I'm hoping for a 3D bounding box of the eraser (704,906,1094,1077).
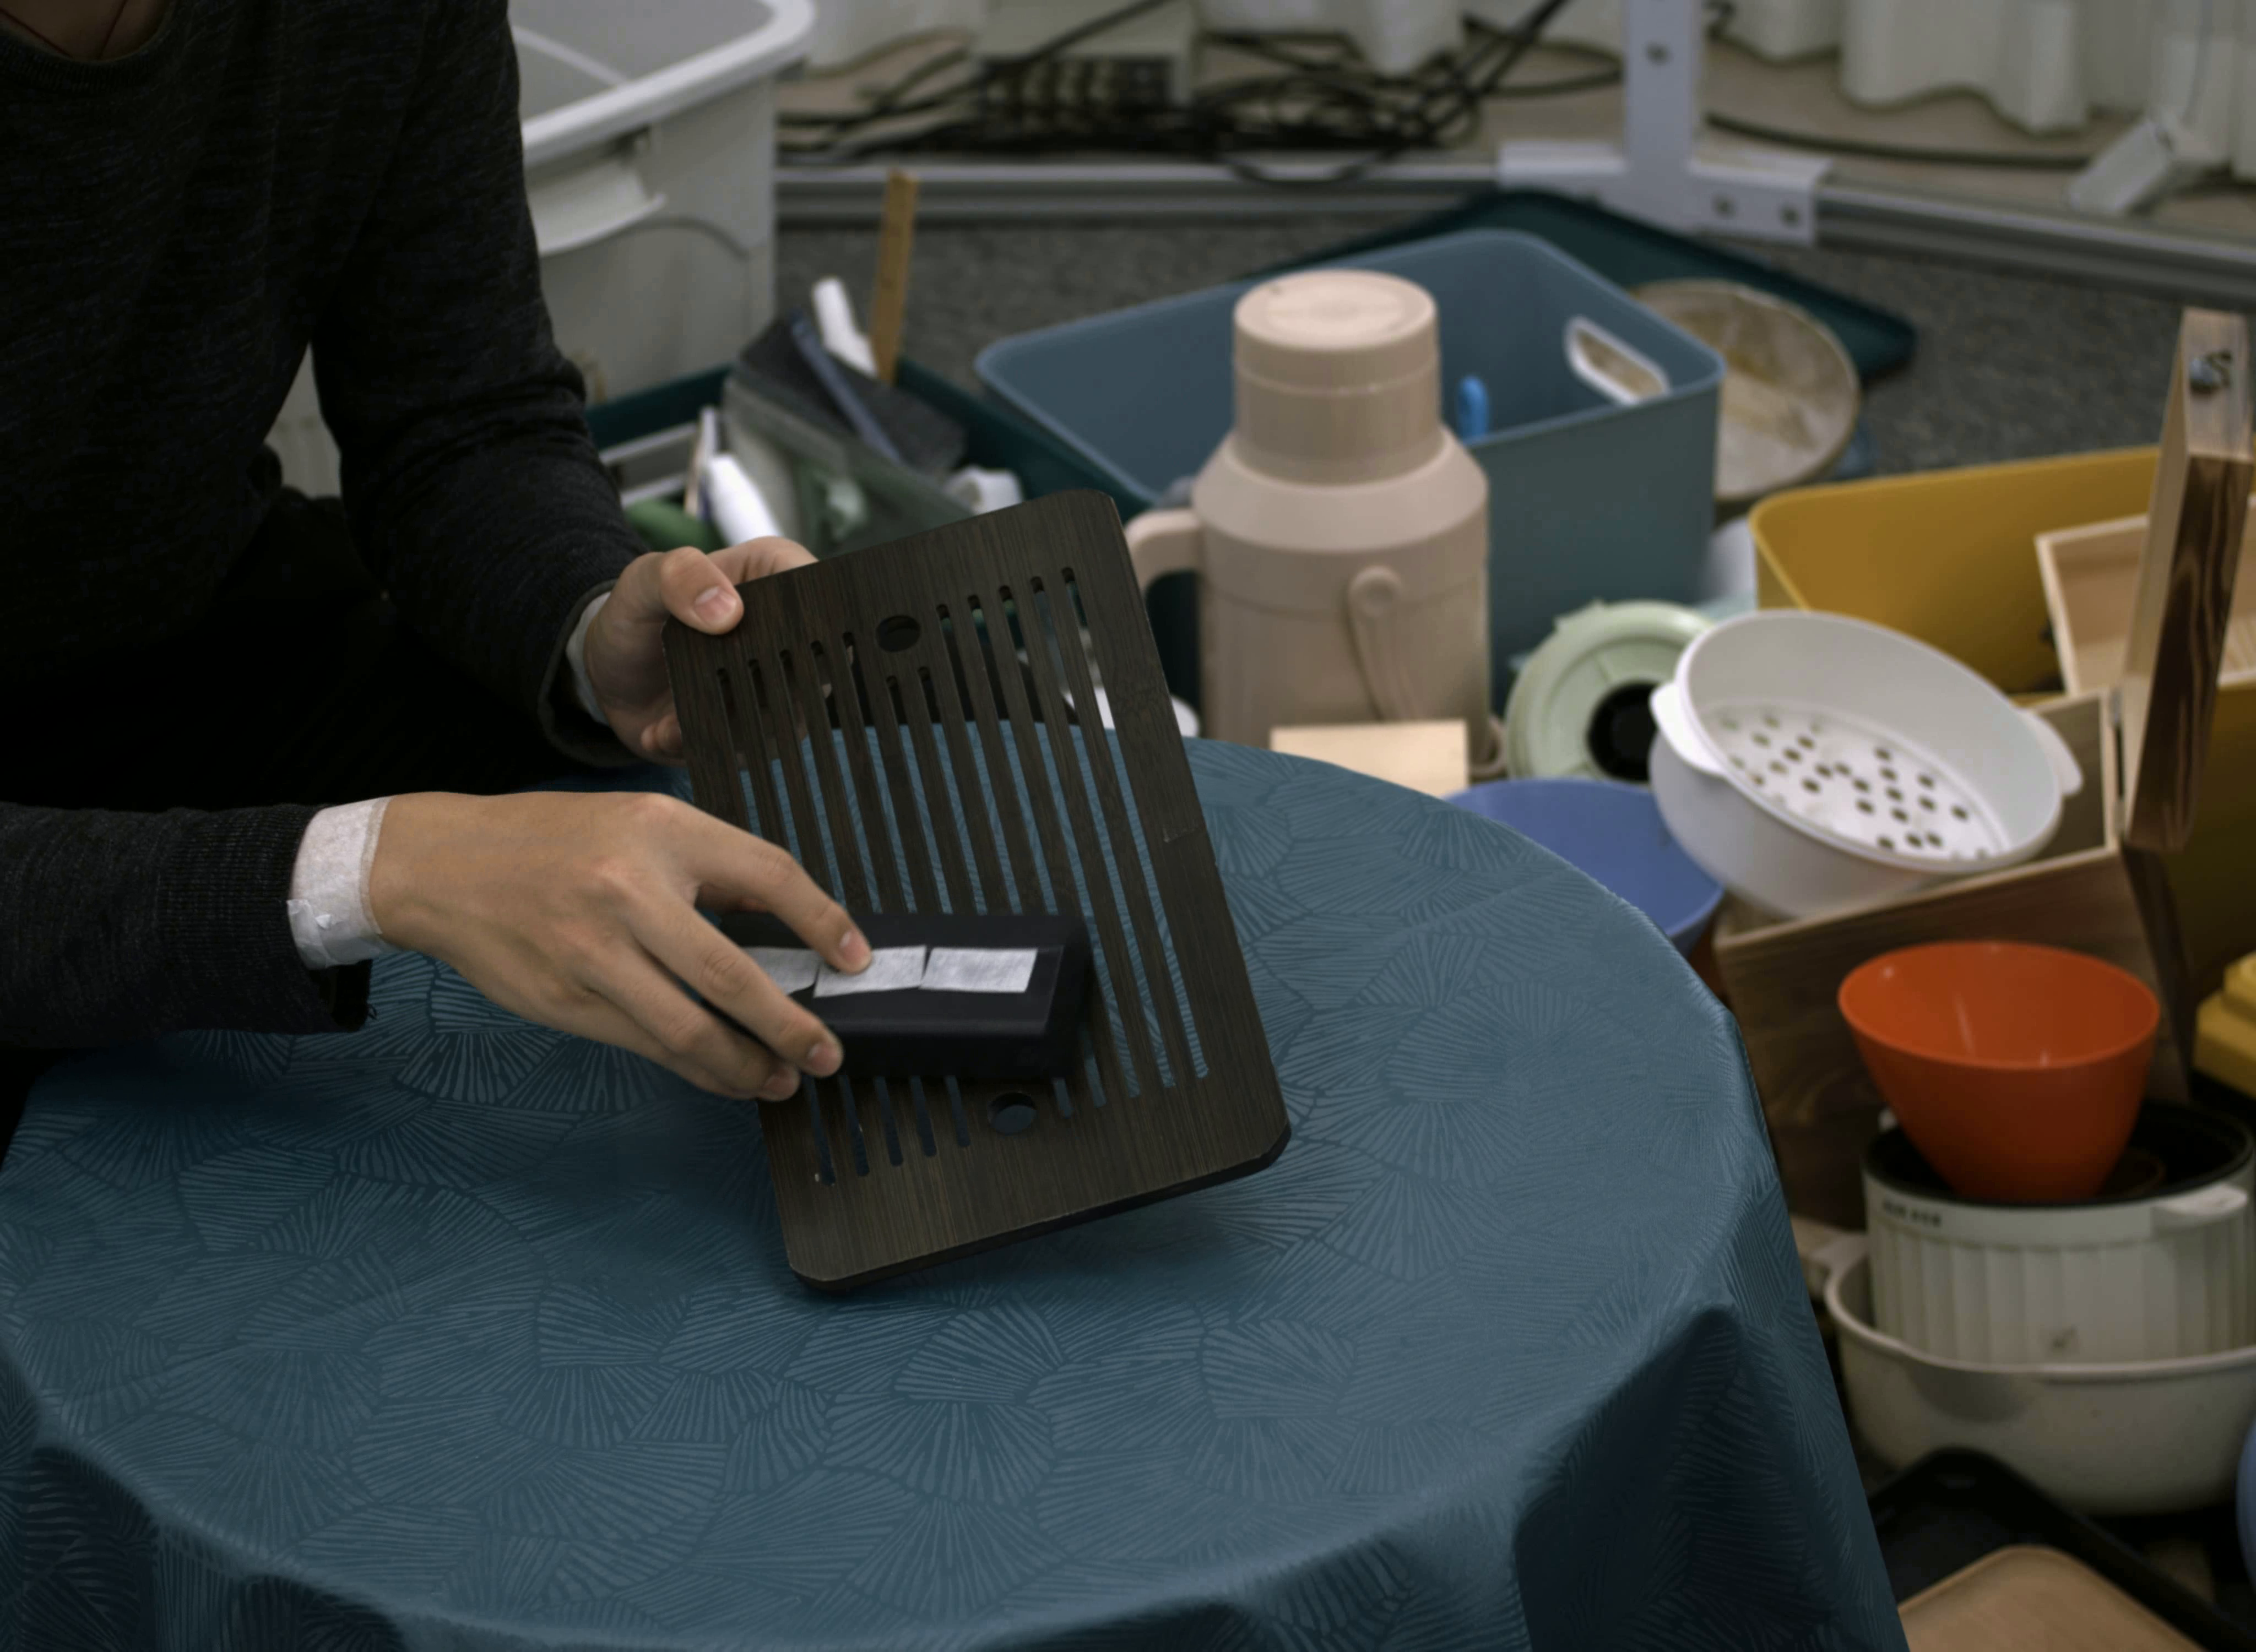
[{"bbox_3d":[-0.074,0.055,1.855,0.124,0.030,0.054,-2,48,14],"label":"eraser"}]

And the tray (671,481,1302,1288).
[{"bbox_3d":[-0.052,0.016,1.907,0.169,0.018,0.311,-16,49,1],"label":"tray"}]
